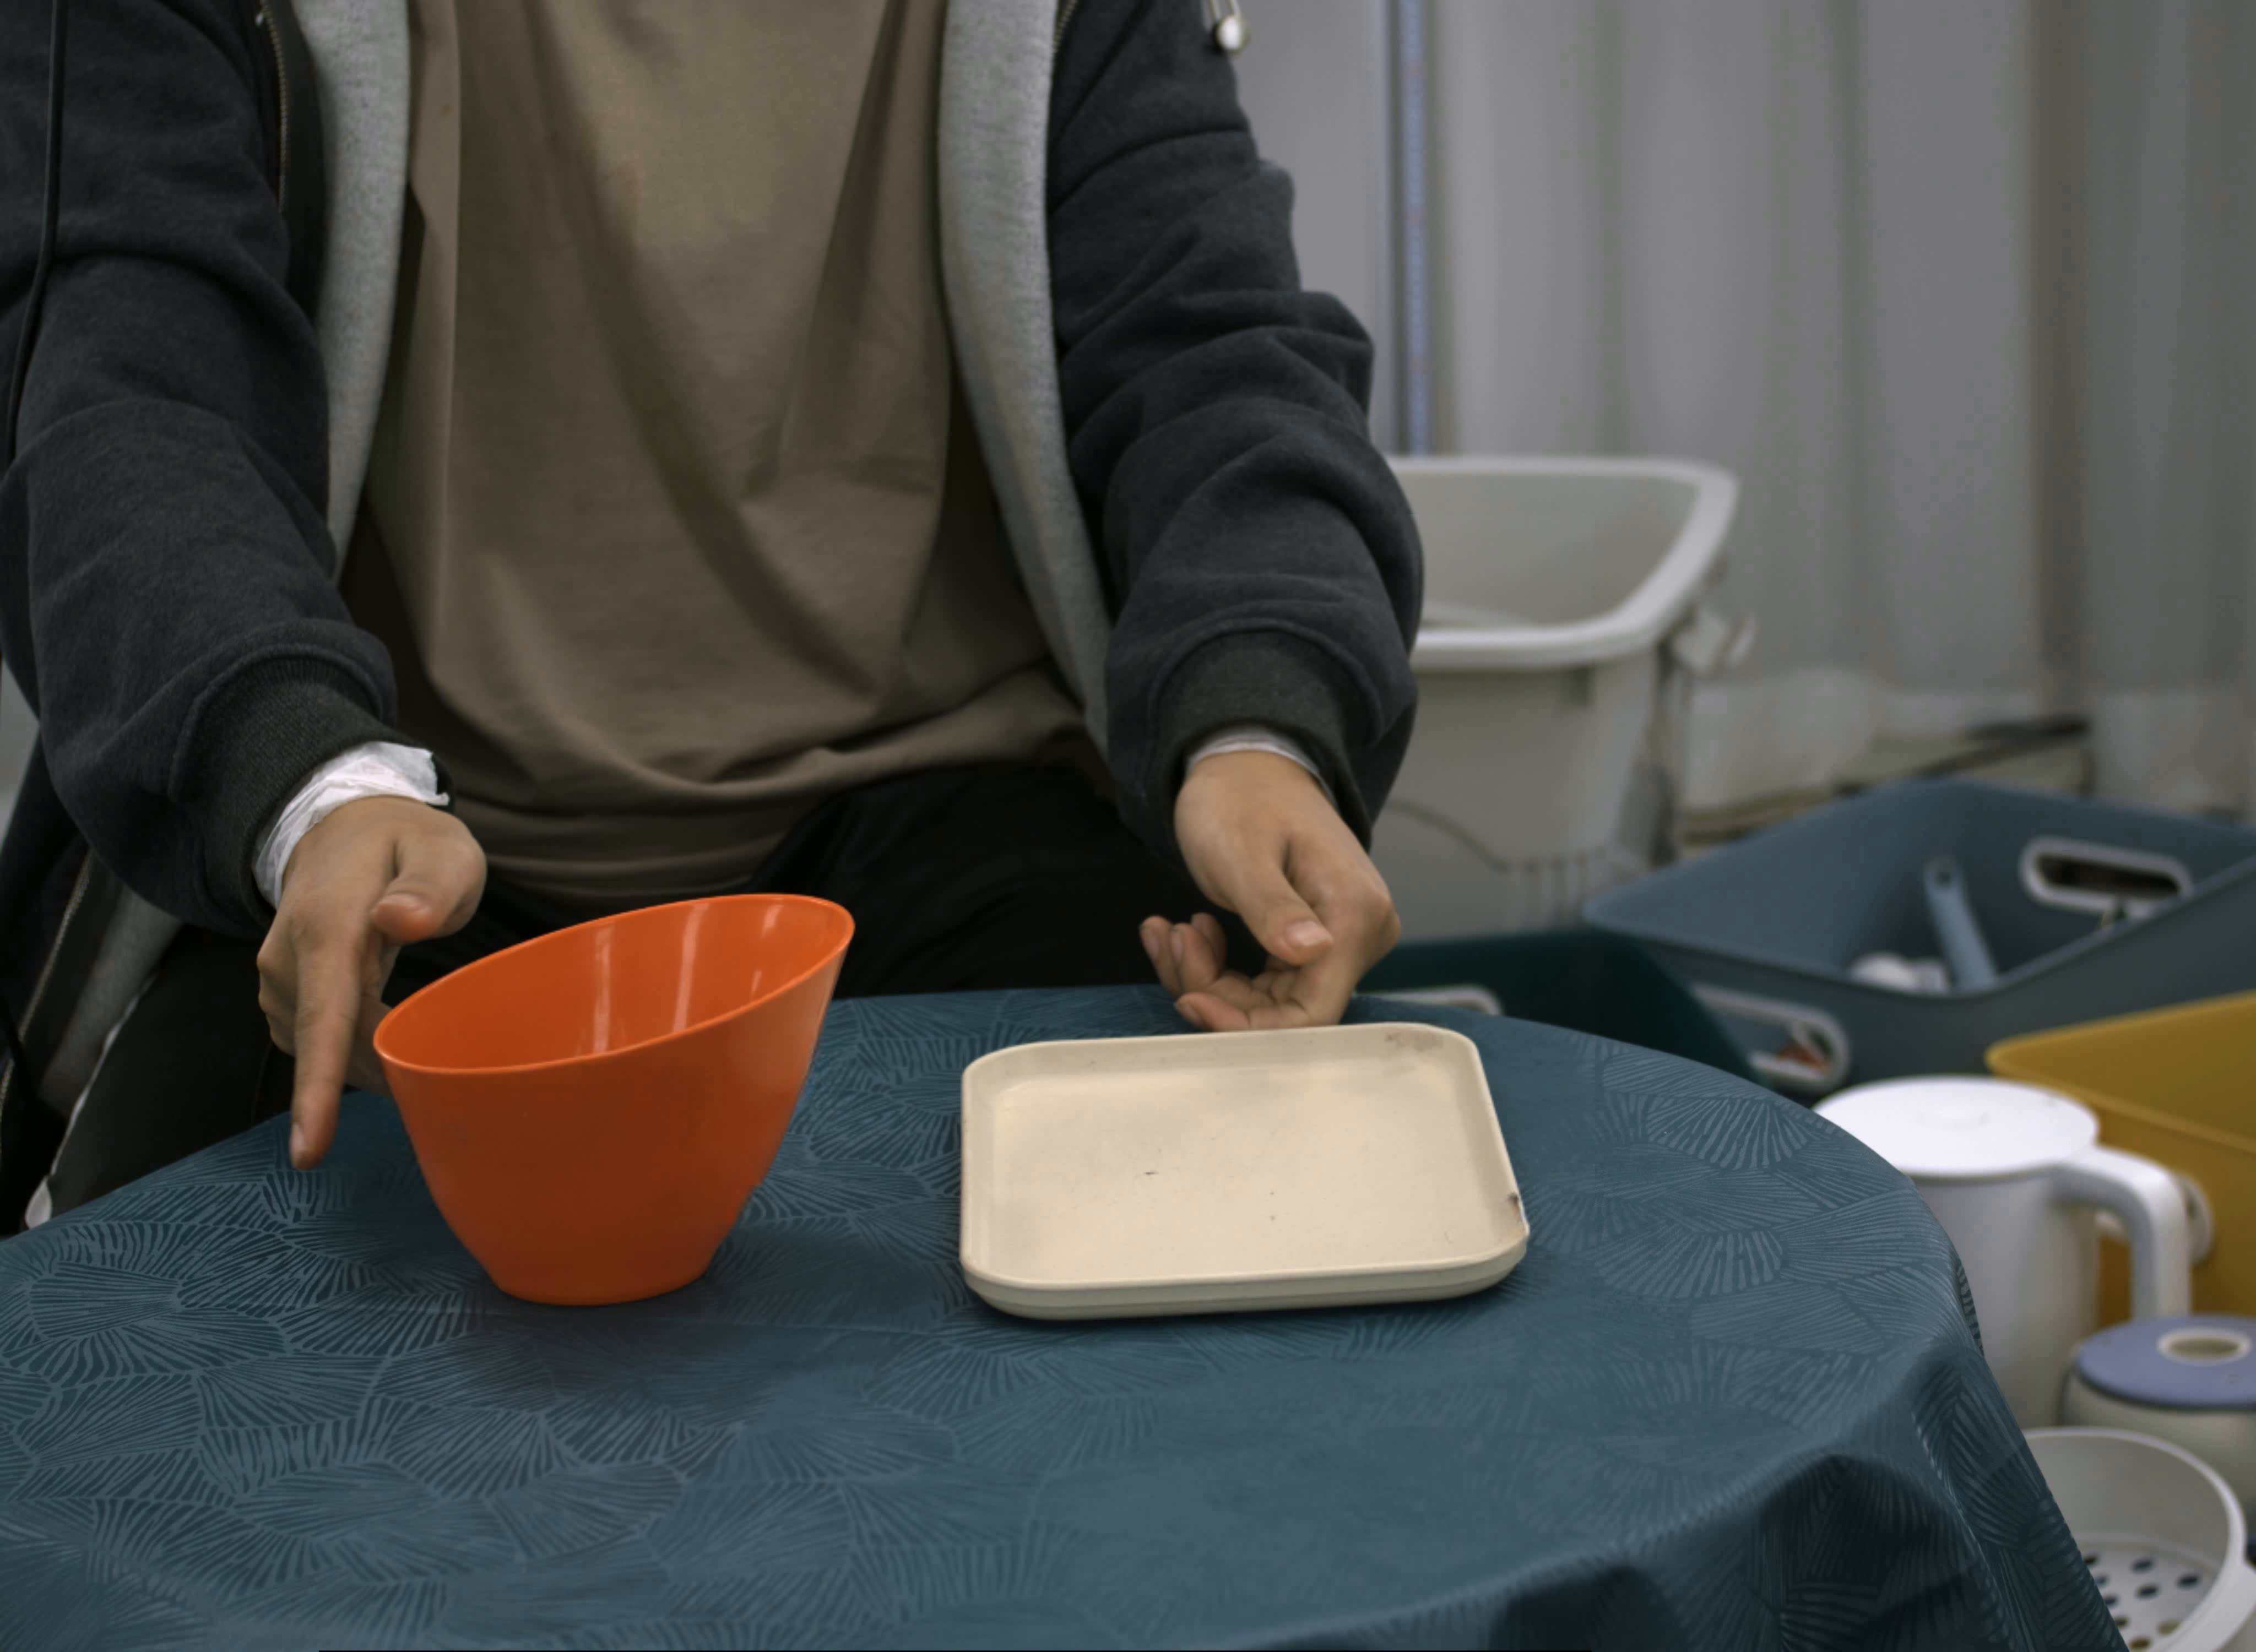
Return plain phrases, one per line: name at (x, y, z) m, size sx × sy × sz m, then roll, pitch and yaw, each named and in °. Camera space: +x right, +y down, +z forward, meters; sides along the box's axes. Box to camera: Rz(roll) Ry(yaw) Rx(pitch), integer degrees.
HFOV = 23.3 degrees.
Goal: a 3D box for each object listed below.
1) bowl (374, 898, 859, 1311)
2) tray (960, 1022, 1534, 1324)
bowl at (-0.152, 0.087, 1.656) m, size 0.147 × 0.104 × 0.149 m, roll -2°, pitch 16°, yaw 0°
tray at (0.033, 0.107, 1.704) m, size 0.171 × 0.017 × 0.241 m, roll -4°, pitch 15°, yaw -1°
